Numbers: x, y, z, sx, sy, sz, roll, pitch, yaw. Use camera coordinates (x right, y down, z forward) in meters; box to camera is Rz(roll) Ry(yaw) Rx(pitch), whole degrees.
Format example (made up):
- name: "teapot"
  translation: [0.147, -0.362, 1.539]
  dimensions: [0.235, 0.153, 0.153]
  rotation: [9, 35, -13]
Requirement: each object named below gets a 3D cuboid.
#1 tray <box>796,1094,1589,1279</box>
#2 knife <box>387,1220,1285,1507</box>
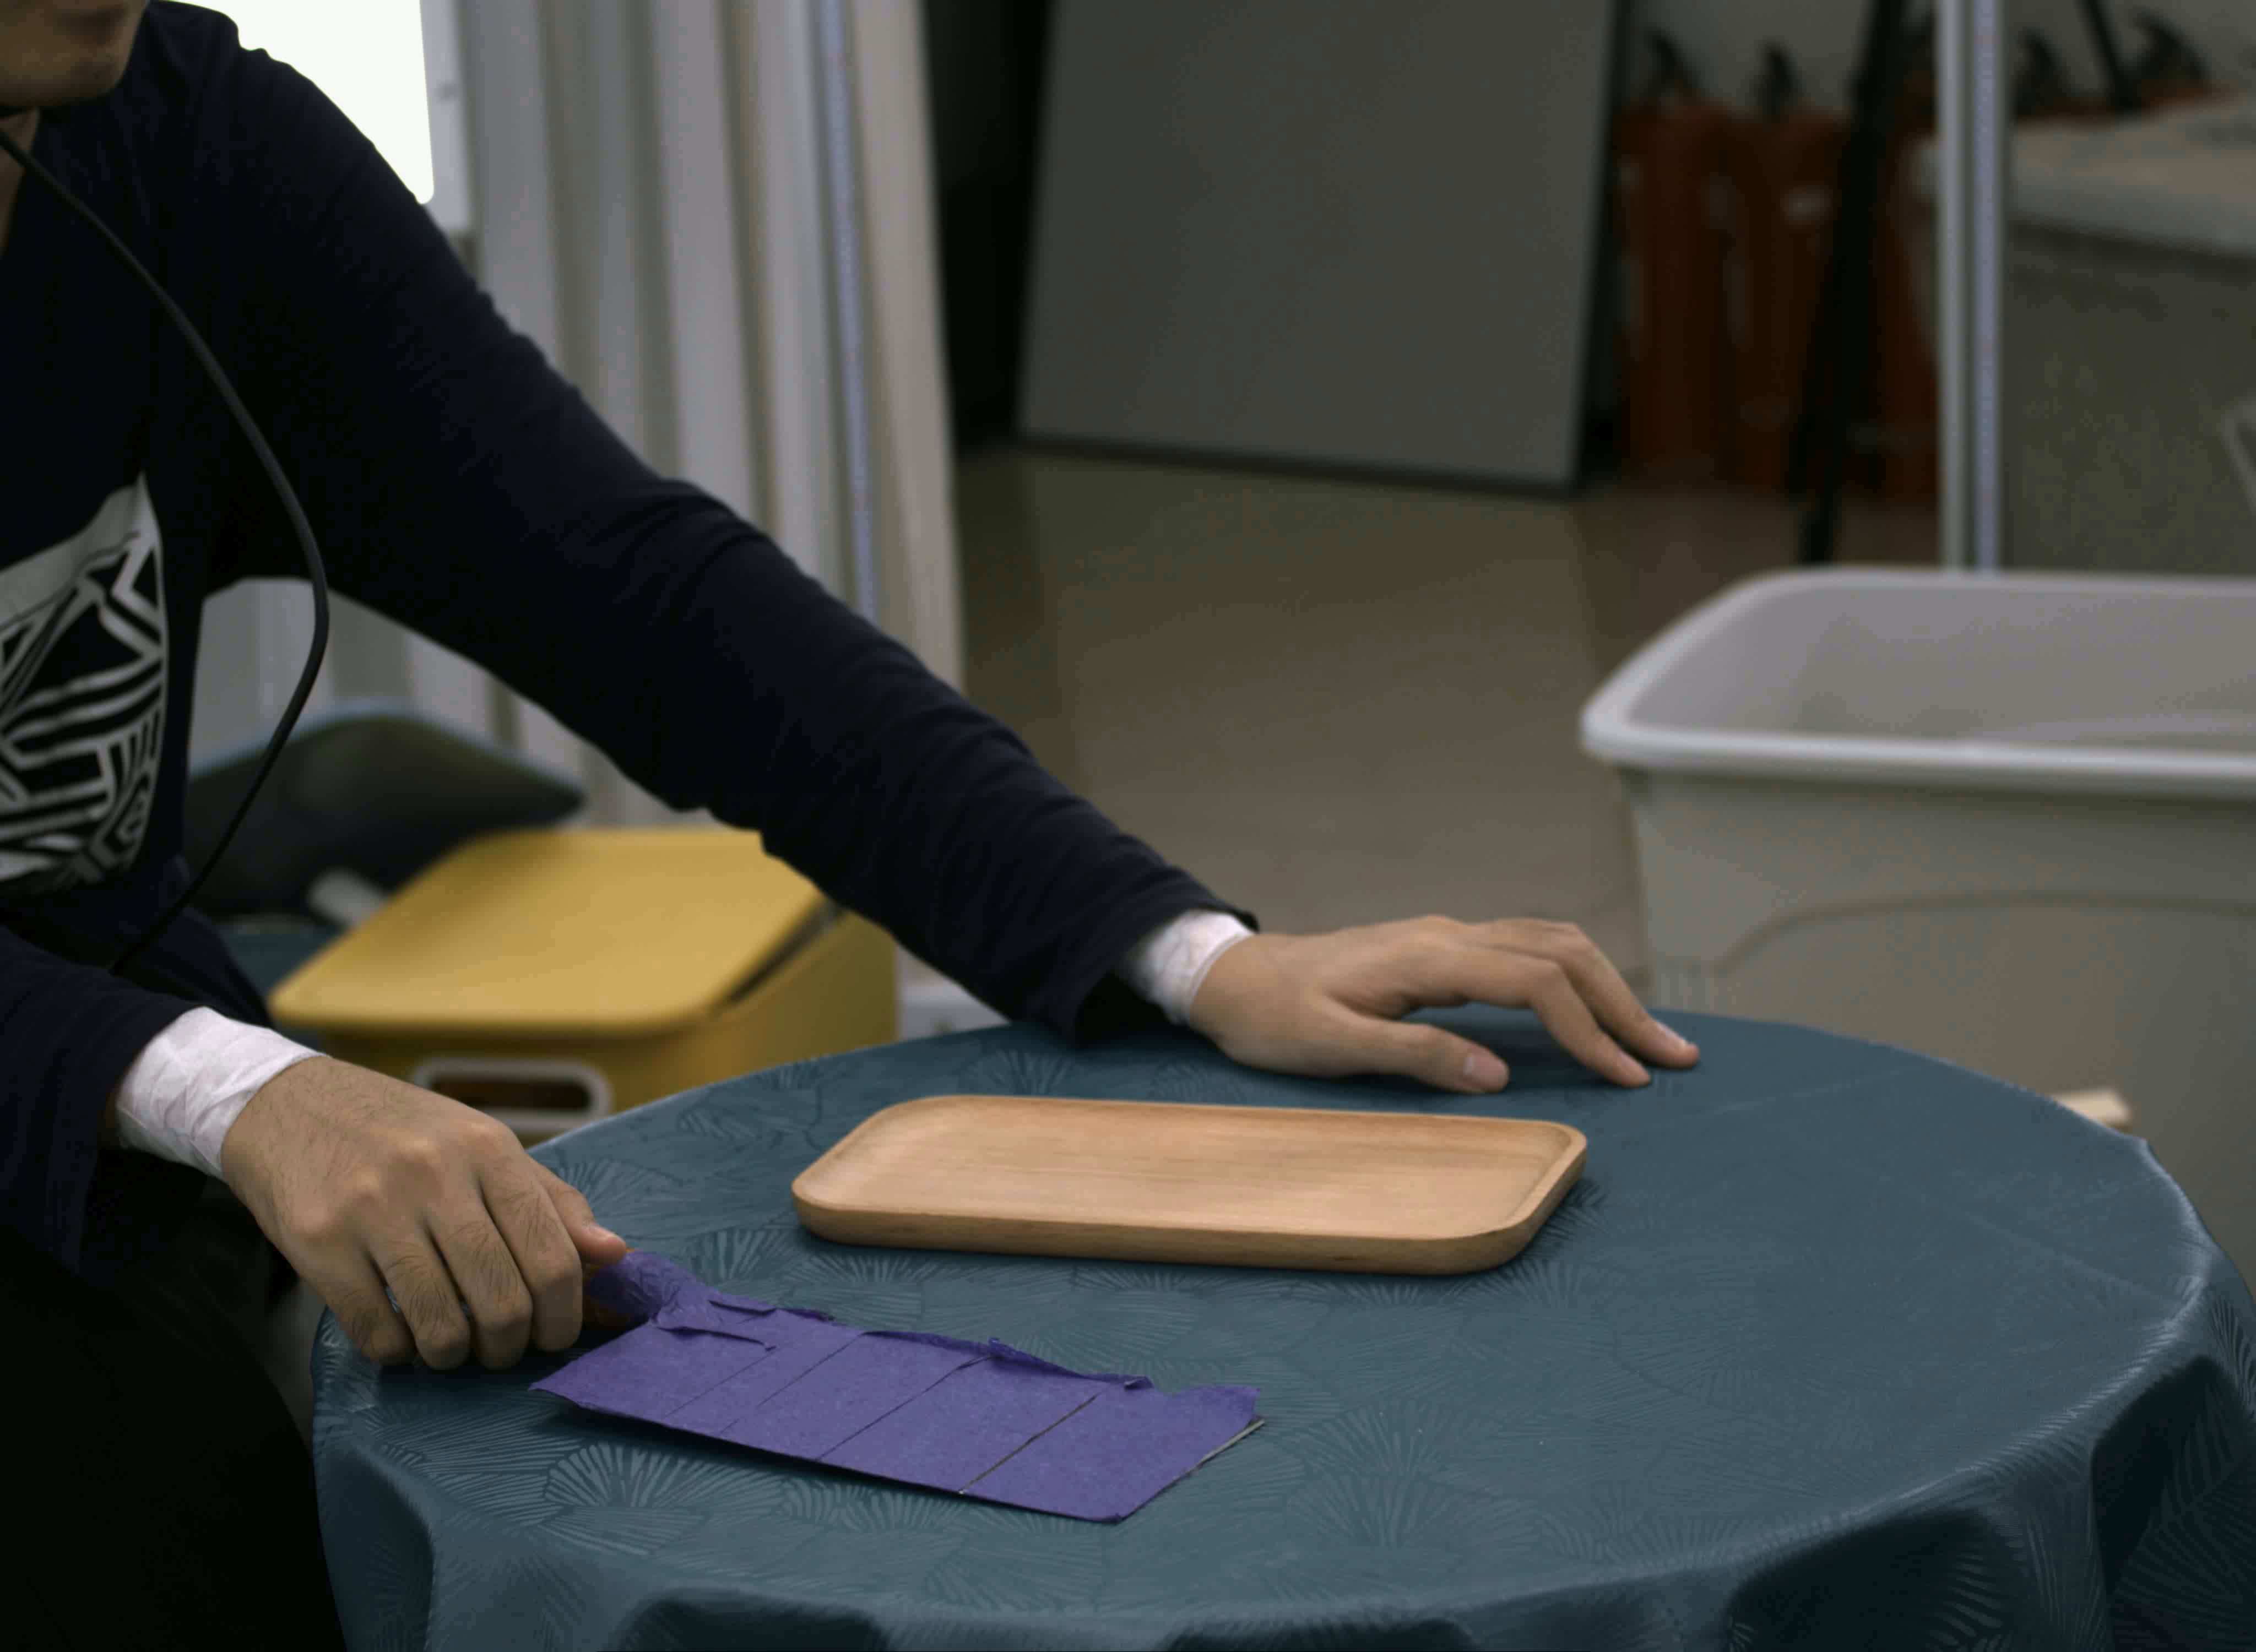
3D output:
- name: "tray"
  translation: [0.021, 0.117, 1.755]
  dimensions: [0.251, 0.023, 0.129]
  rotation: [1, 12, 23]
- name: "knife"
  translation: [-0.109, 0.158, 1.599]
  dimensions: [0.317, 0.032, 0.102]
  rotation: [5, 16, 33]
